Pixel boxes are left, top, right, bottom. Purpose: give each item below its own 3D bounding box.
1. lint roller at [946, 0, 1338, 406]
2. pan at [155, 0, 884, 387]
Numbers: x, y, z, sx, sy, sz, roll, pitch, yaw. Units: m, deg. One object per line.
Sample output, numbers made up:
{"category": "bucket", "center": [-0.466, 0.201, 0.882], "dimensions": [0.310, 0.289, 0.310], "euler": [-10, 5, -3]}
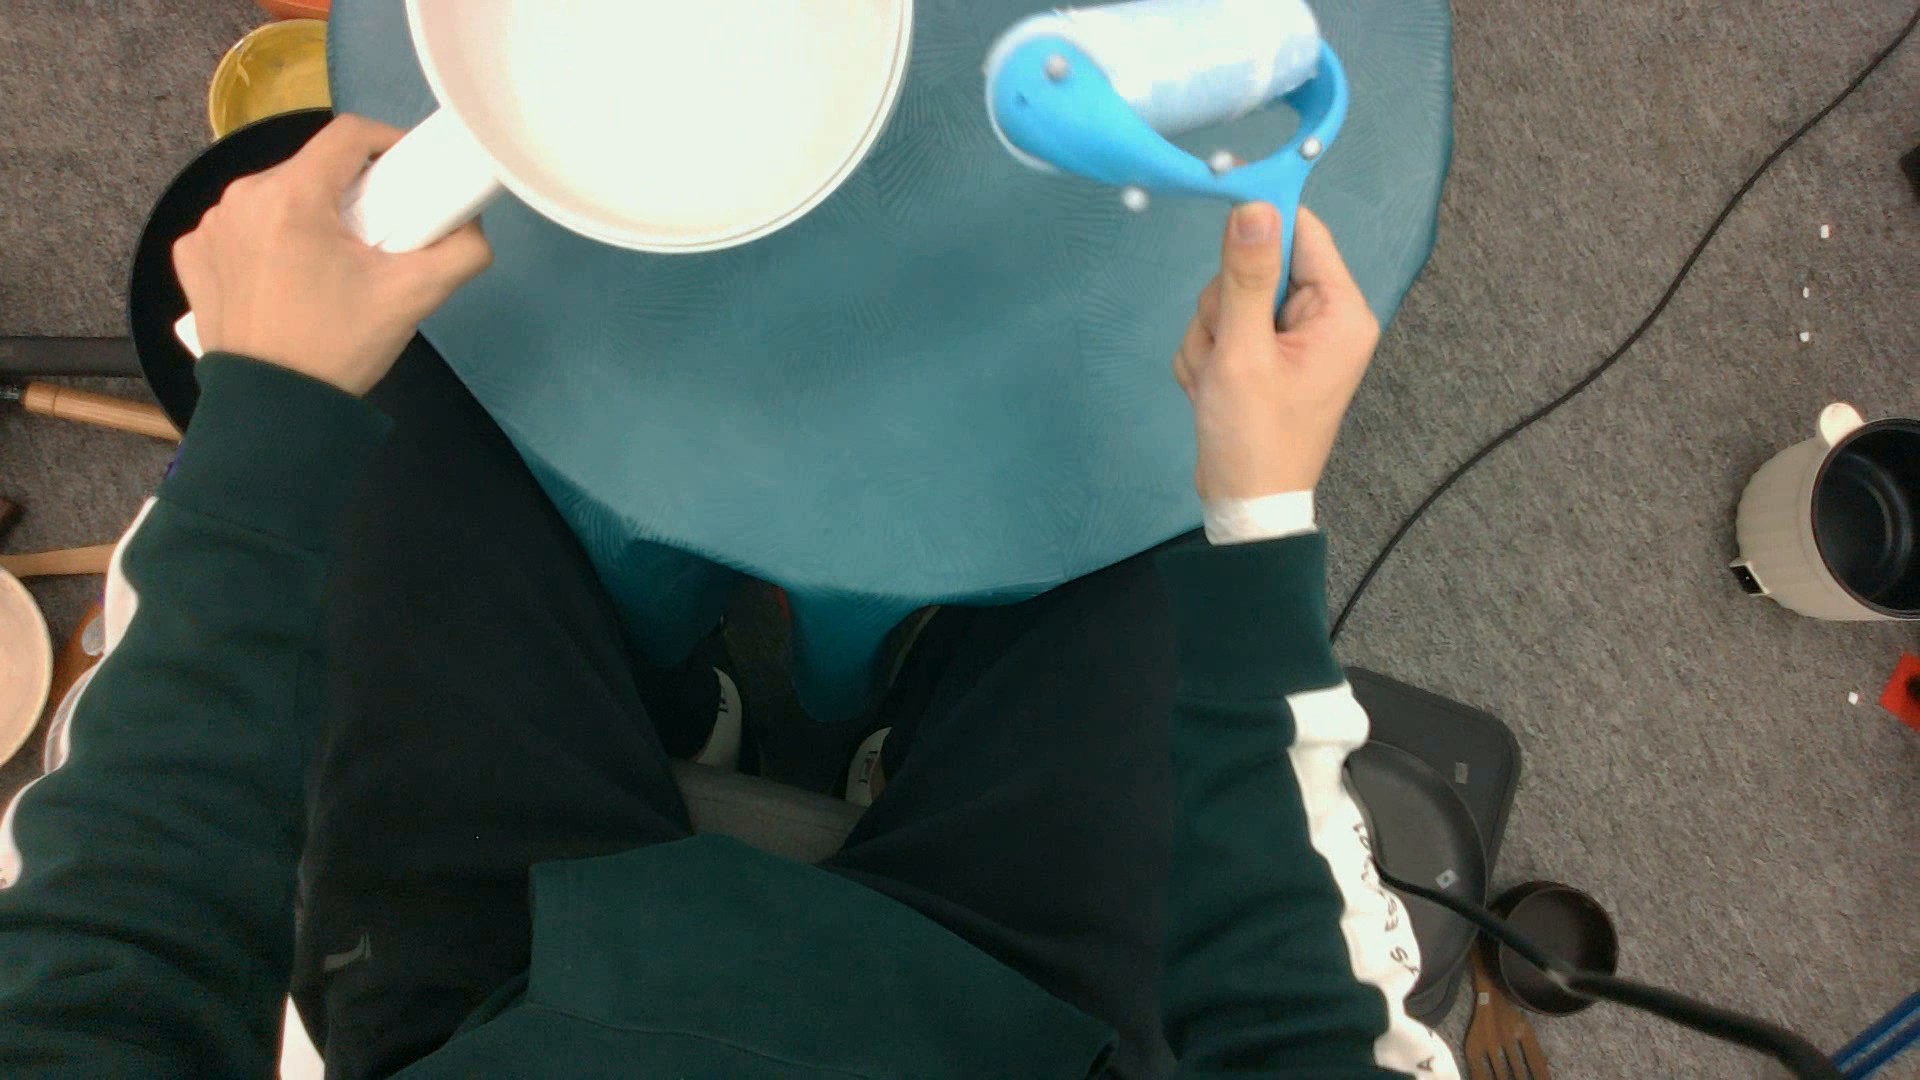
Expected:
{"category": "lint roller", "center": [0.096, -0.149, 0.579], "dimensions": [0.230, 0.067, 0.180], "euler": [-28, 104, -45]}
{"category": "pan", "center": [-0.193, -0.190, 0.612], "dimensions": [0.354, 0.102, 0.201], "euler": [-36, 102, 8]}
